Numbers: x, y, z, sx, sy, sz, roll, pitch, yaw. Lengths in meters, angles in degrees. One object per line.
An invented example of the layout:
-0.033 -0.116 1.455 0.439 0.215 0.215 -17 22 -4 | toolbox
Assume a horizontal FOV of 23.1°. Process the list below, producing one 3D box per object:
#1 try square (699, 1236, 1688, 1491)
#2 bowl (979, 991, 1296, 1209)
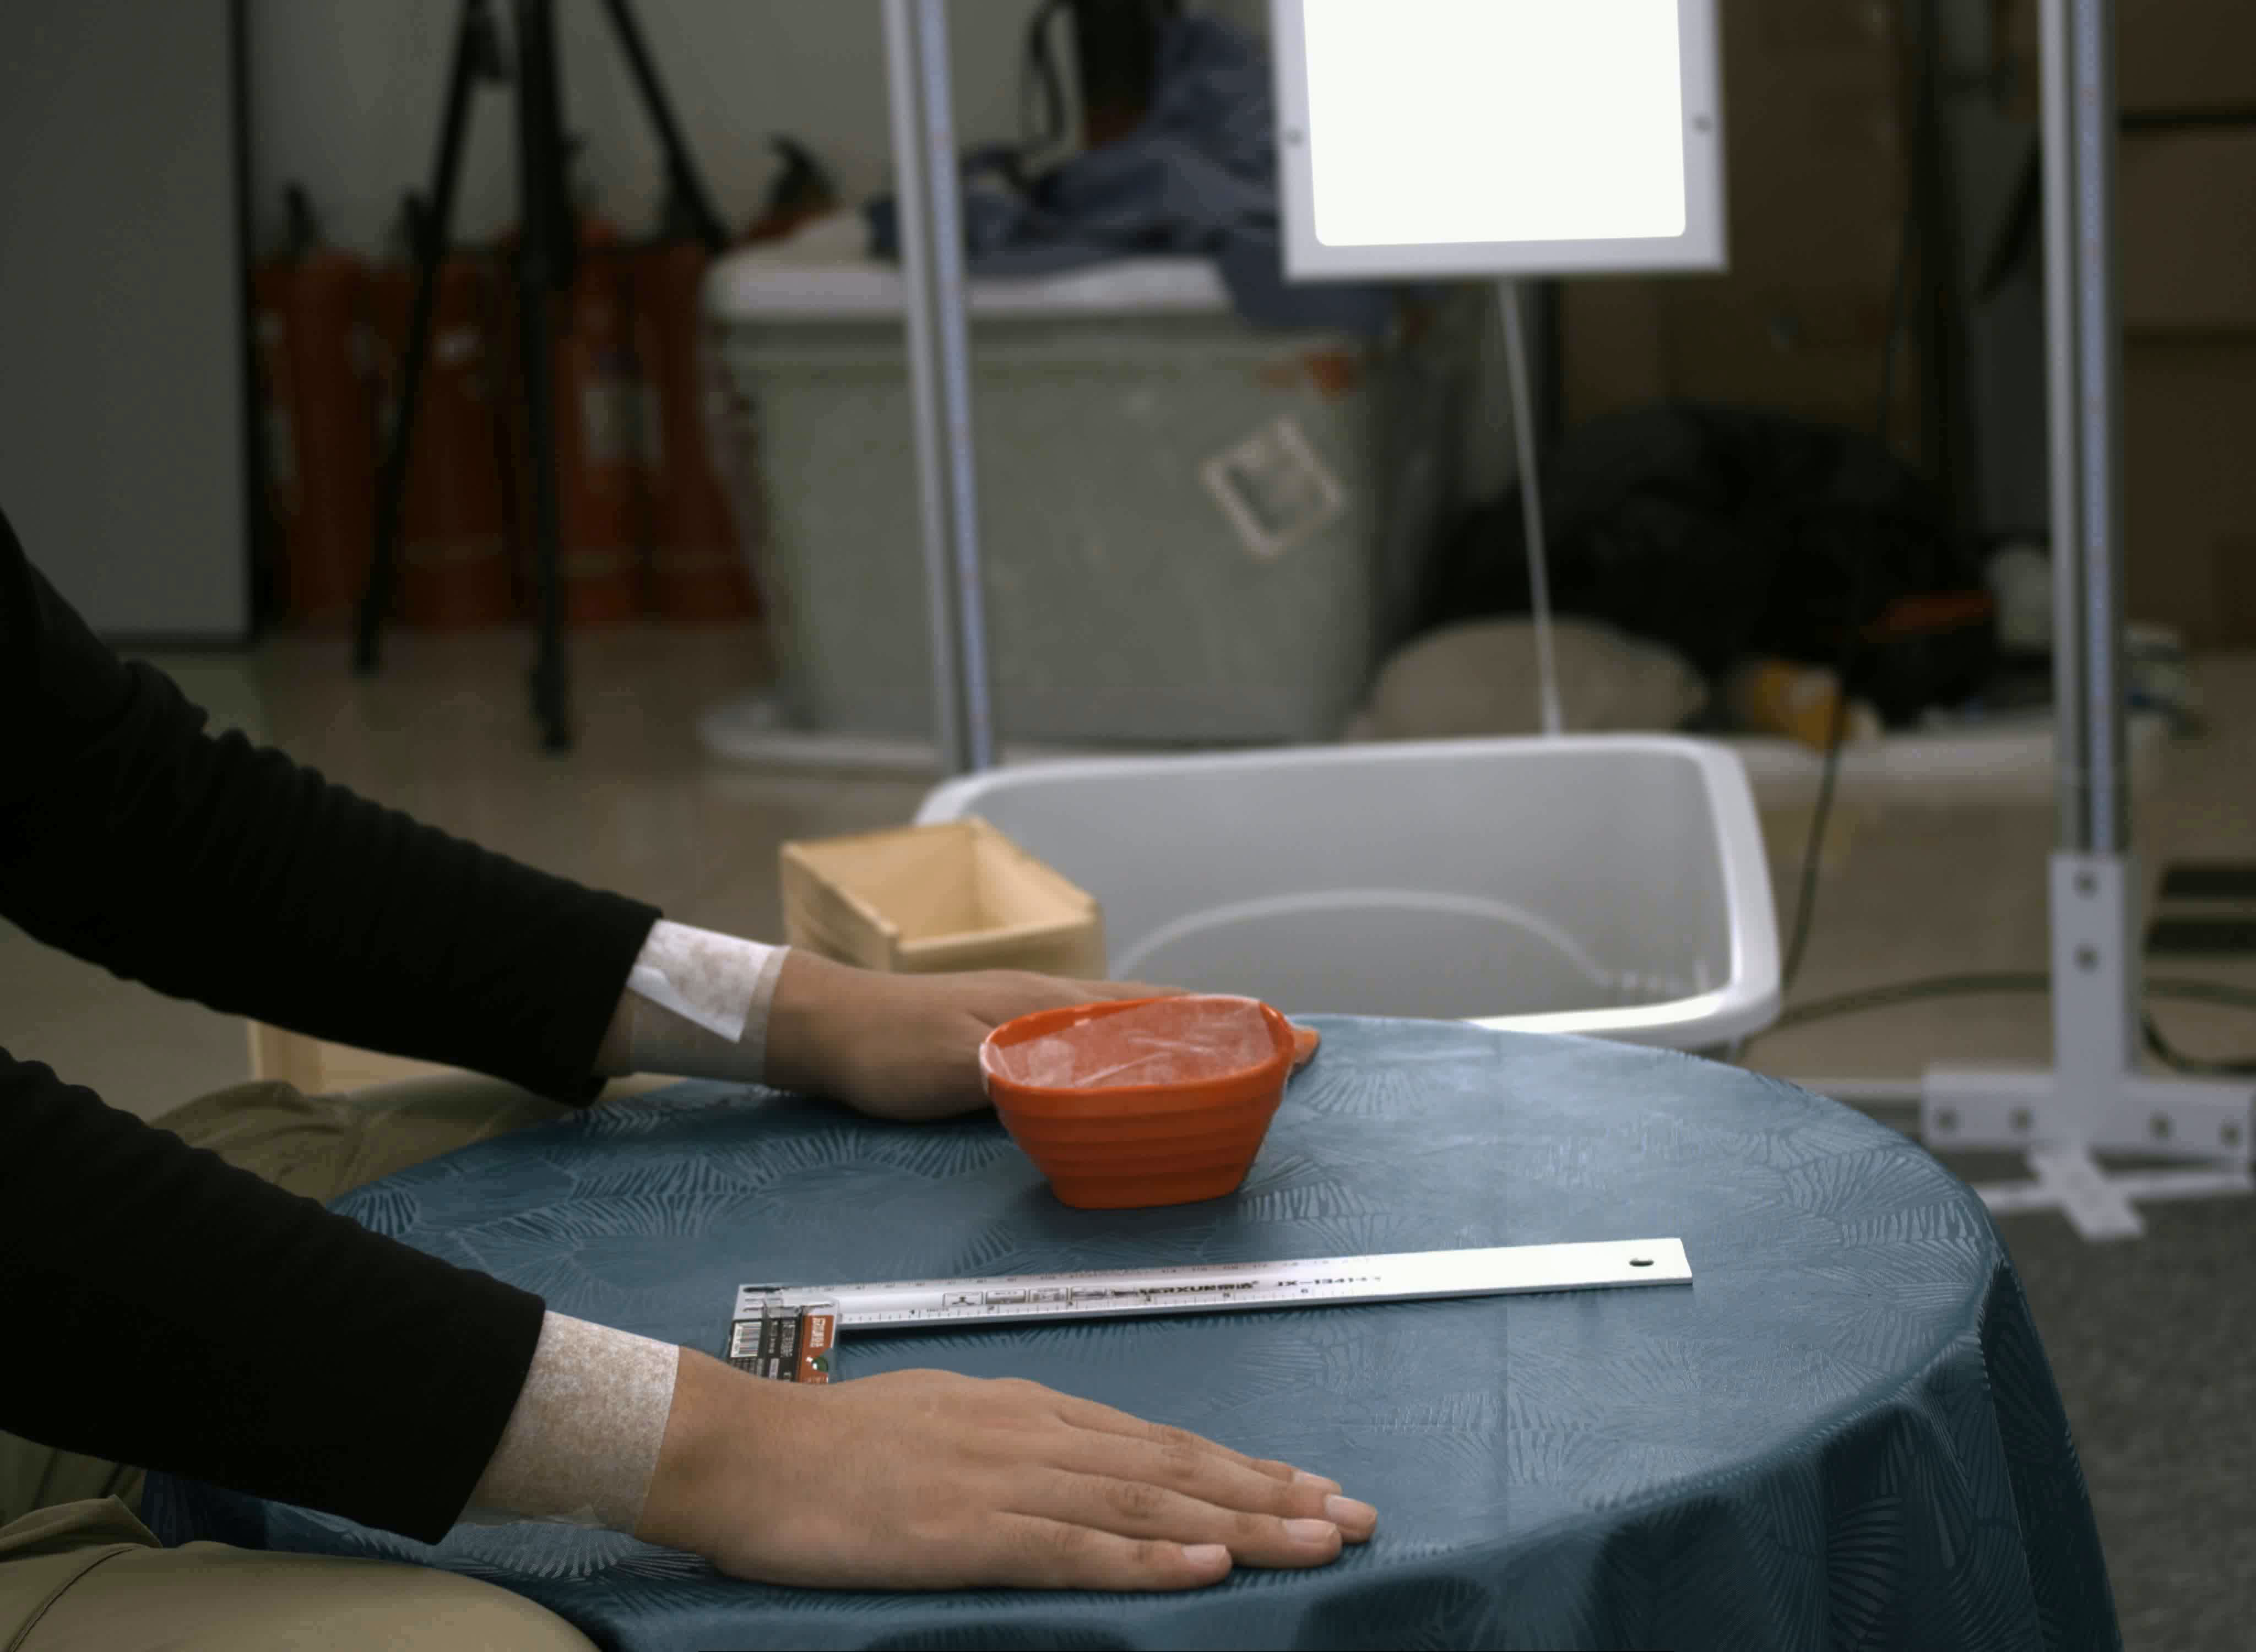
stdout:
0.025 0.165 1.730 0.313 0.016 0.151 -3 17 3 | try square
0.005 0.097 1.906 0.118 0.051 0.119 -4 15 0 | bowl
